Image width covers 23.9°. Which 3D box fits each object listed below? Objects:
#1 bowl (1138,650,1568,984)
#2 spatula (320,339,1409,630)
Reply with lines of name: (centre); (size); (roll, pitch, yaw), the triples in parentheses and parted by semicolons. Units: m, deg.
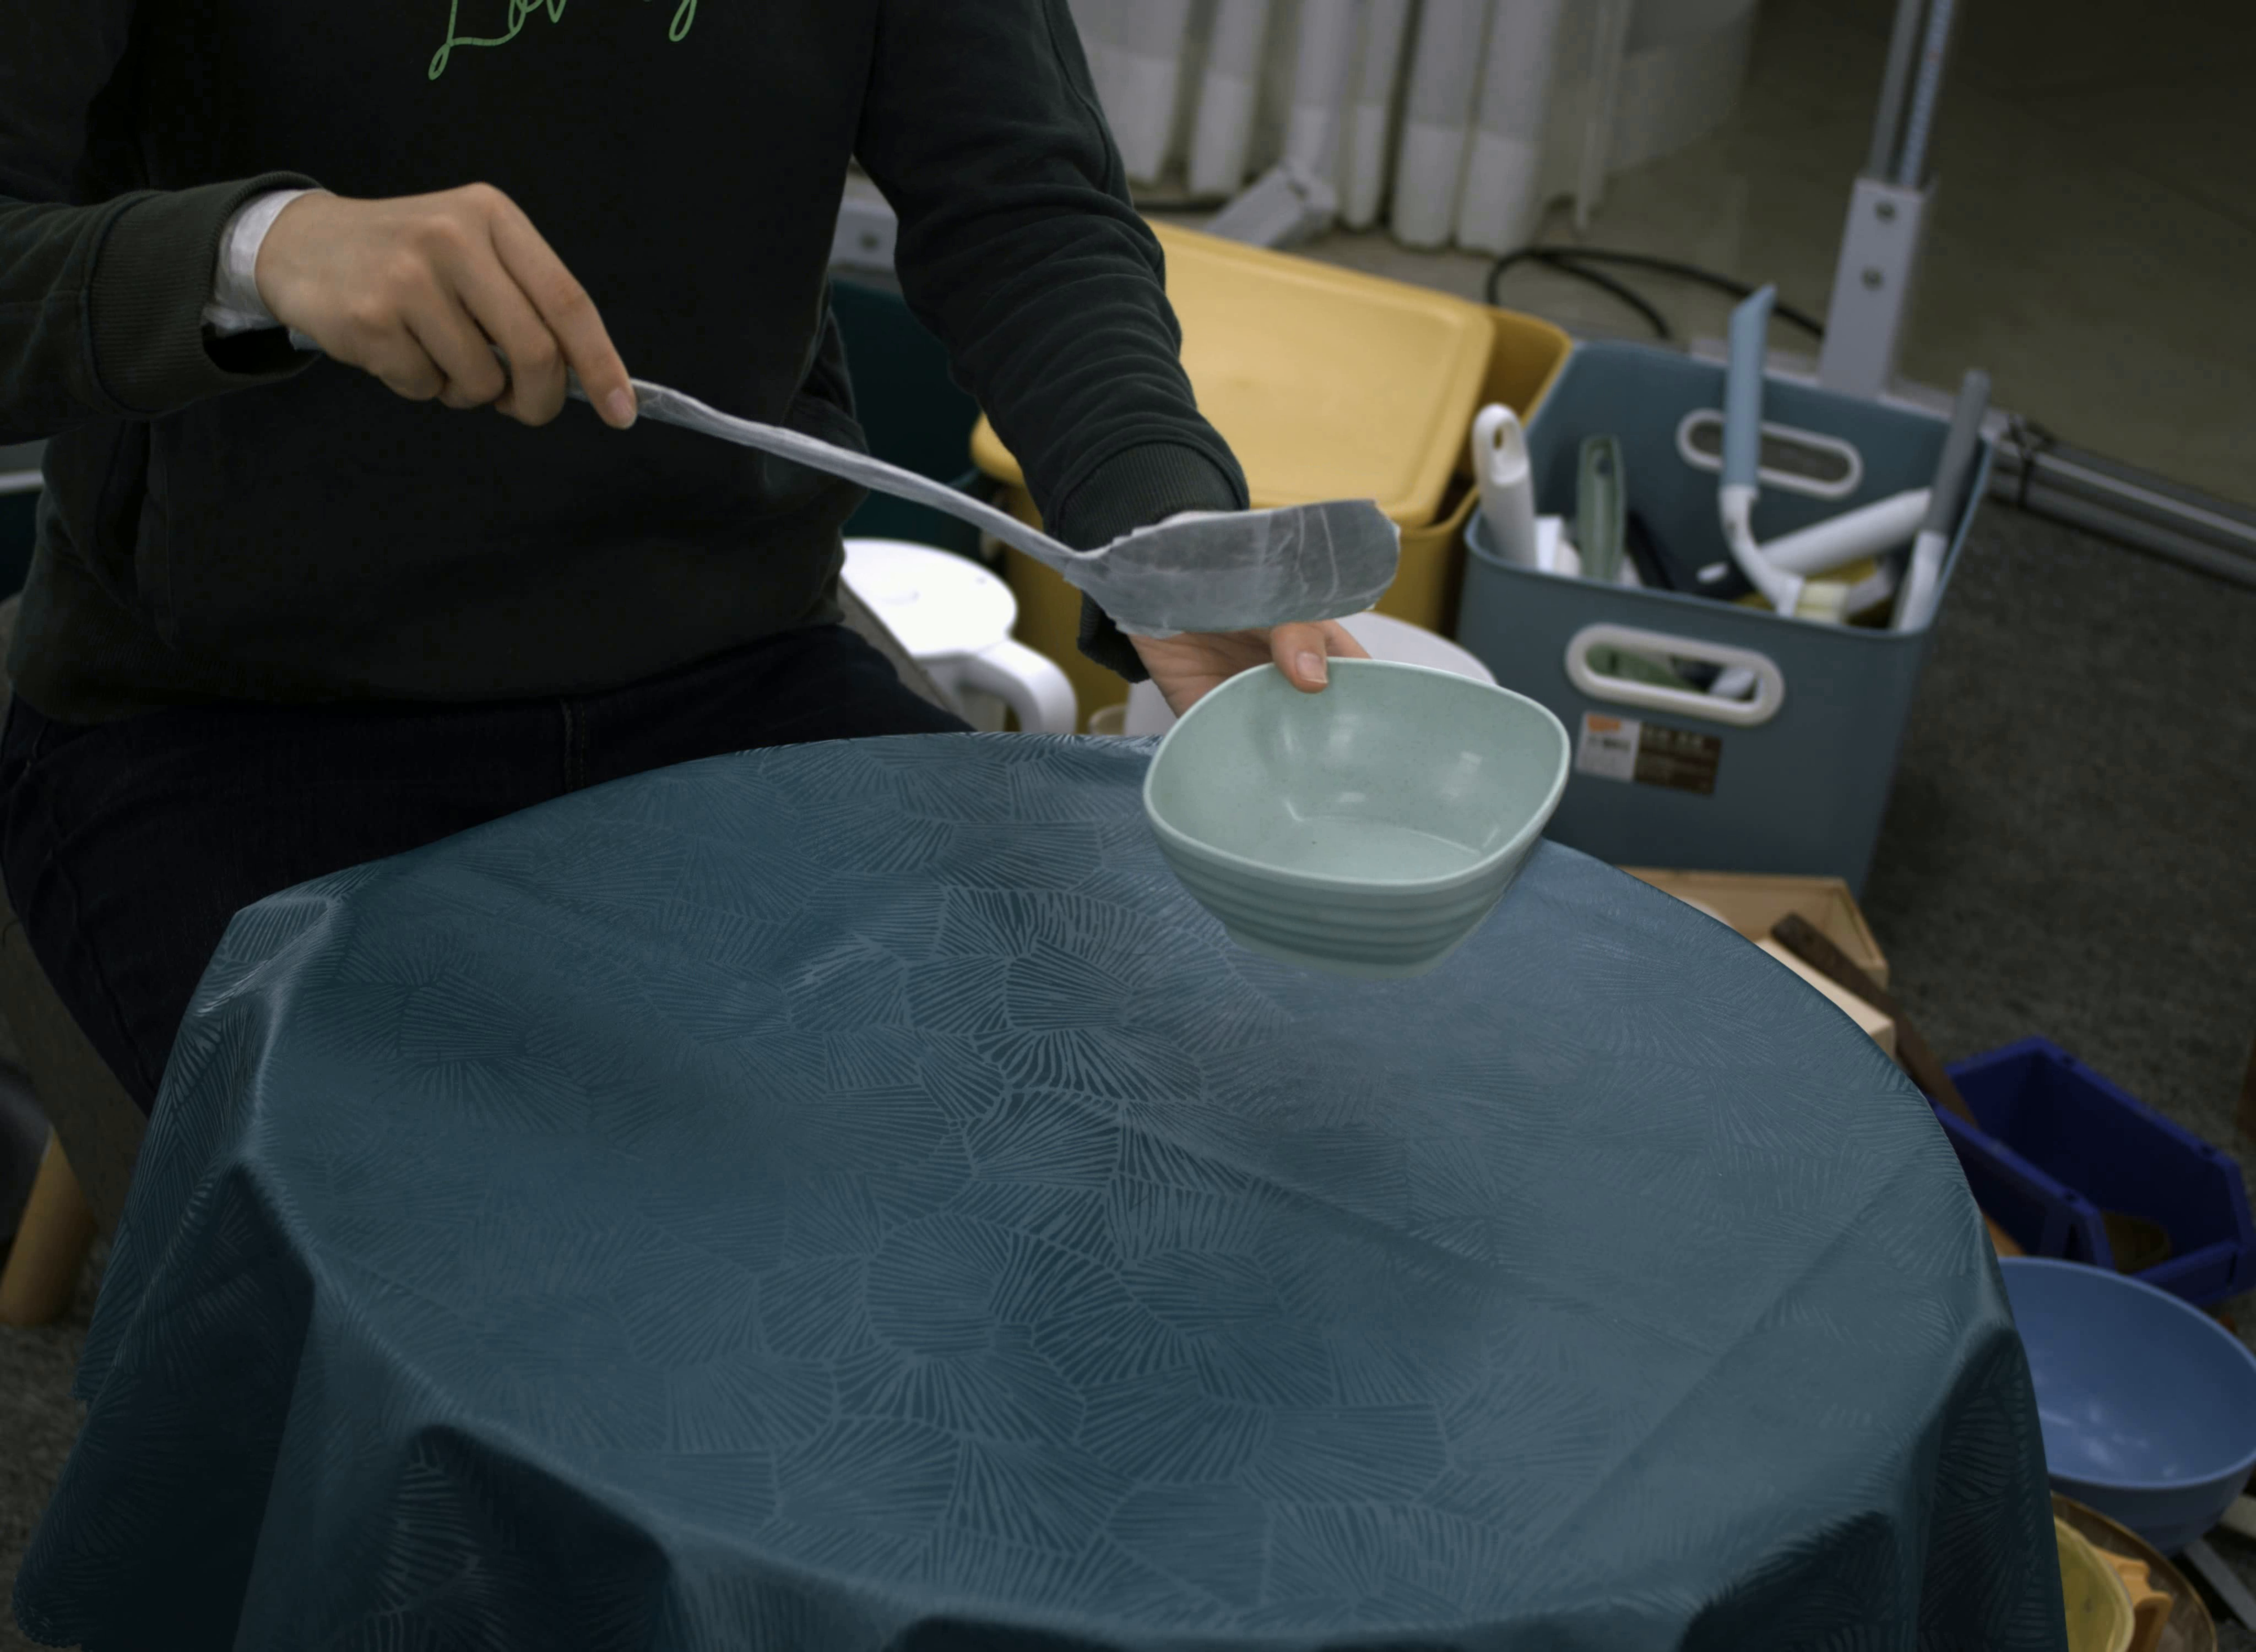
bowl: (0.076, 0.004, 1.814); (0.151, 0.058, 0.152); (0, 34, 0)
spatula: (-0.088, -0.122, 1.752); (0.364, 0.098, 0.045); (17, 68, 4)
